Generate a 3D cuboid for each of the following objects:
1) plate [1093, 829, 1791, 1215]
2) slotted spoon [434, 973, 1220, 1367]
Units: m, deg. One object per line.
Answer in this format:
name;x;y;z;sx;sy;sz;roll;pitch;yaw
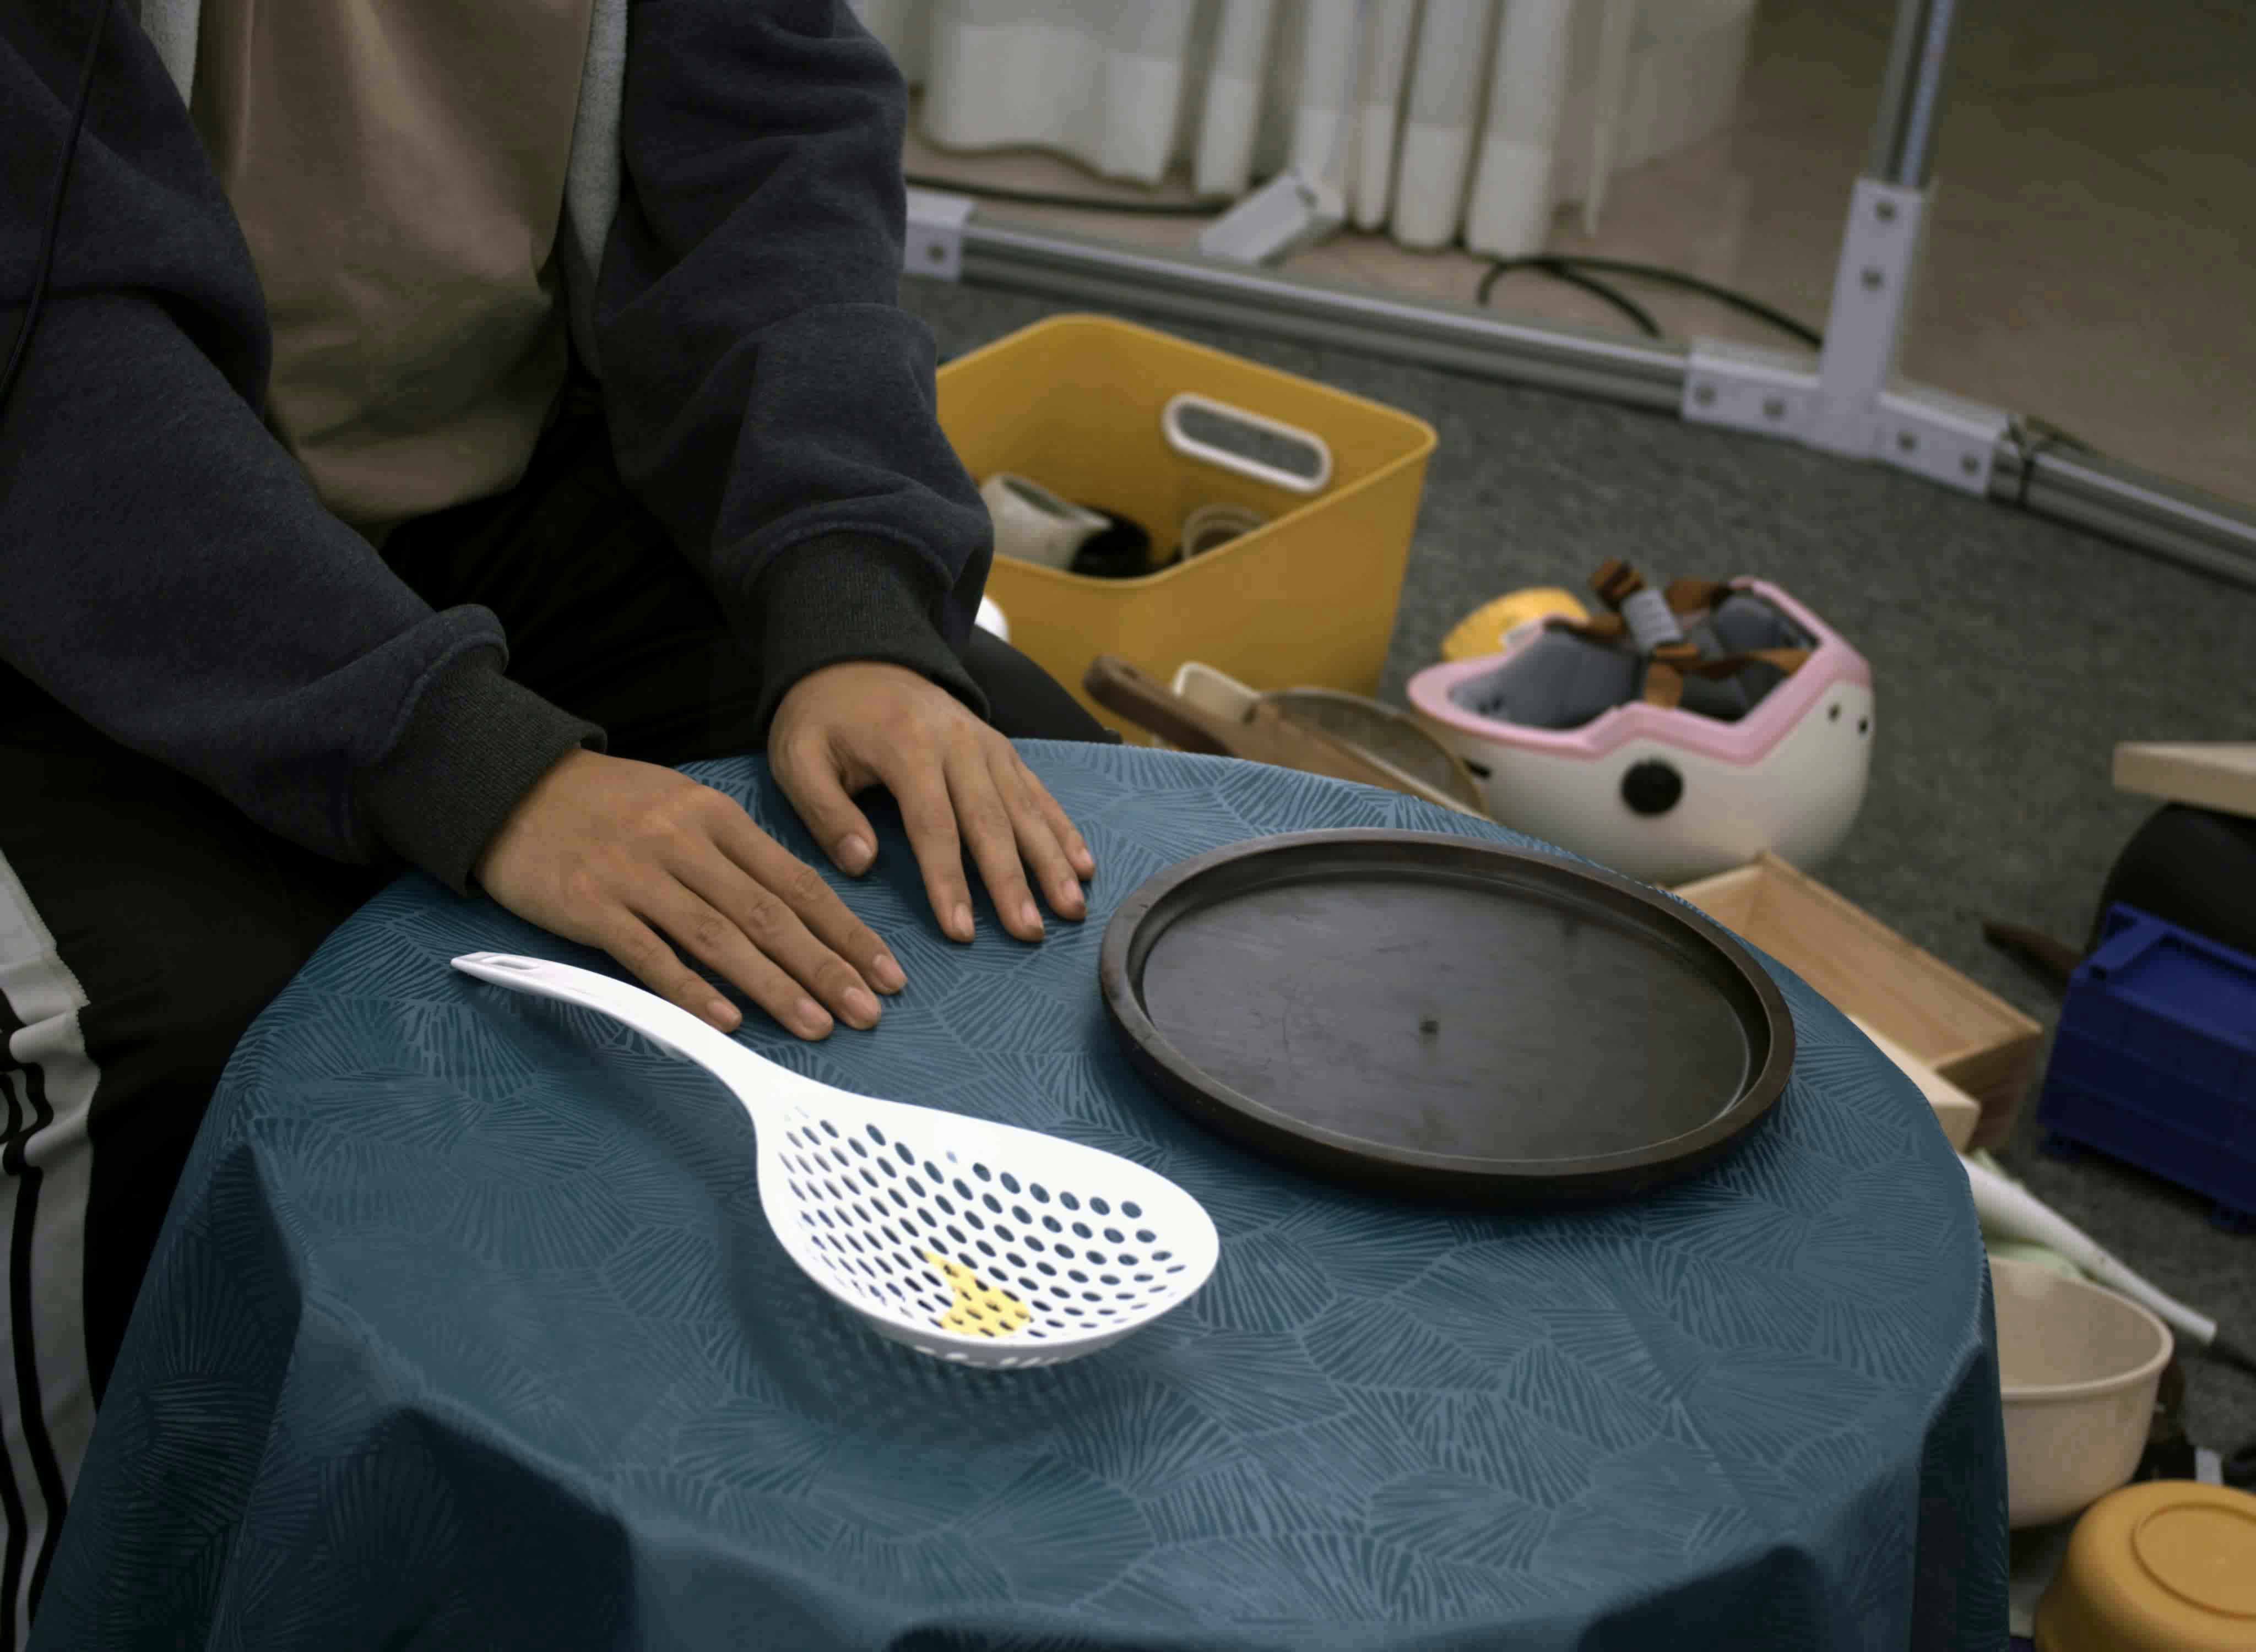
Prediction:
plate;0.112;0.068;1.909;0.254;0.029;0.256;4;27;-2
slotted spoon;-0.116;0.101;1.774;0.136;0.050;0.350;-21;37;-38
